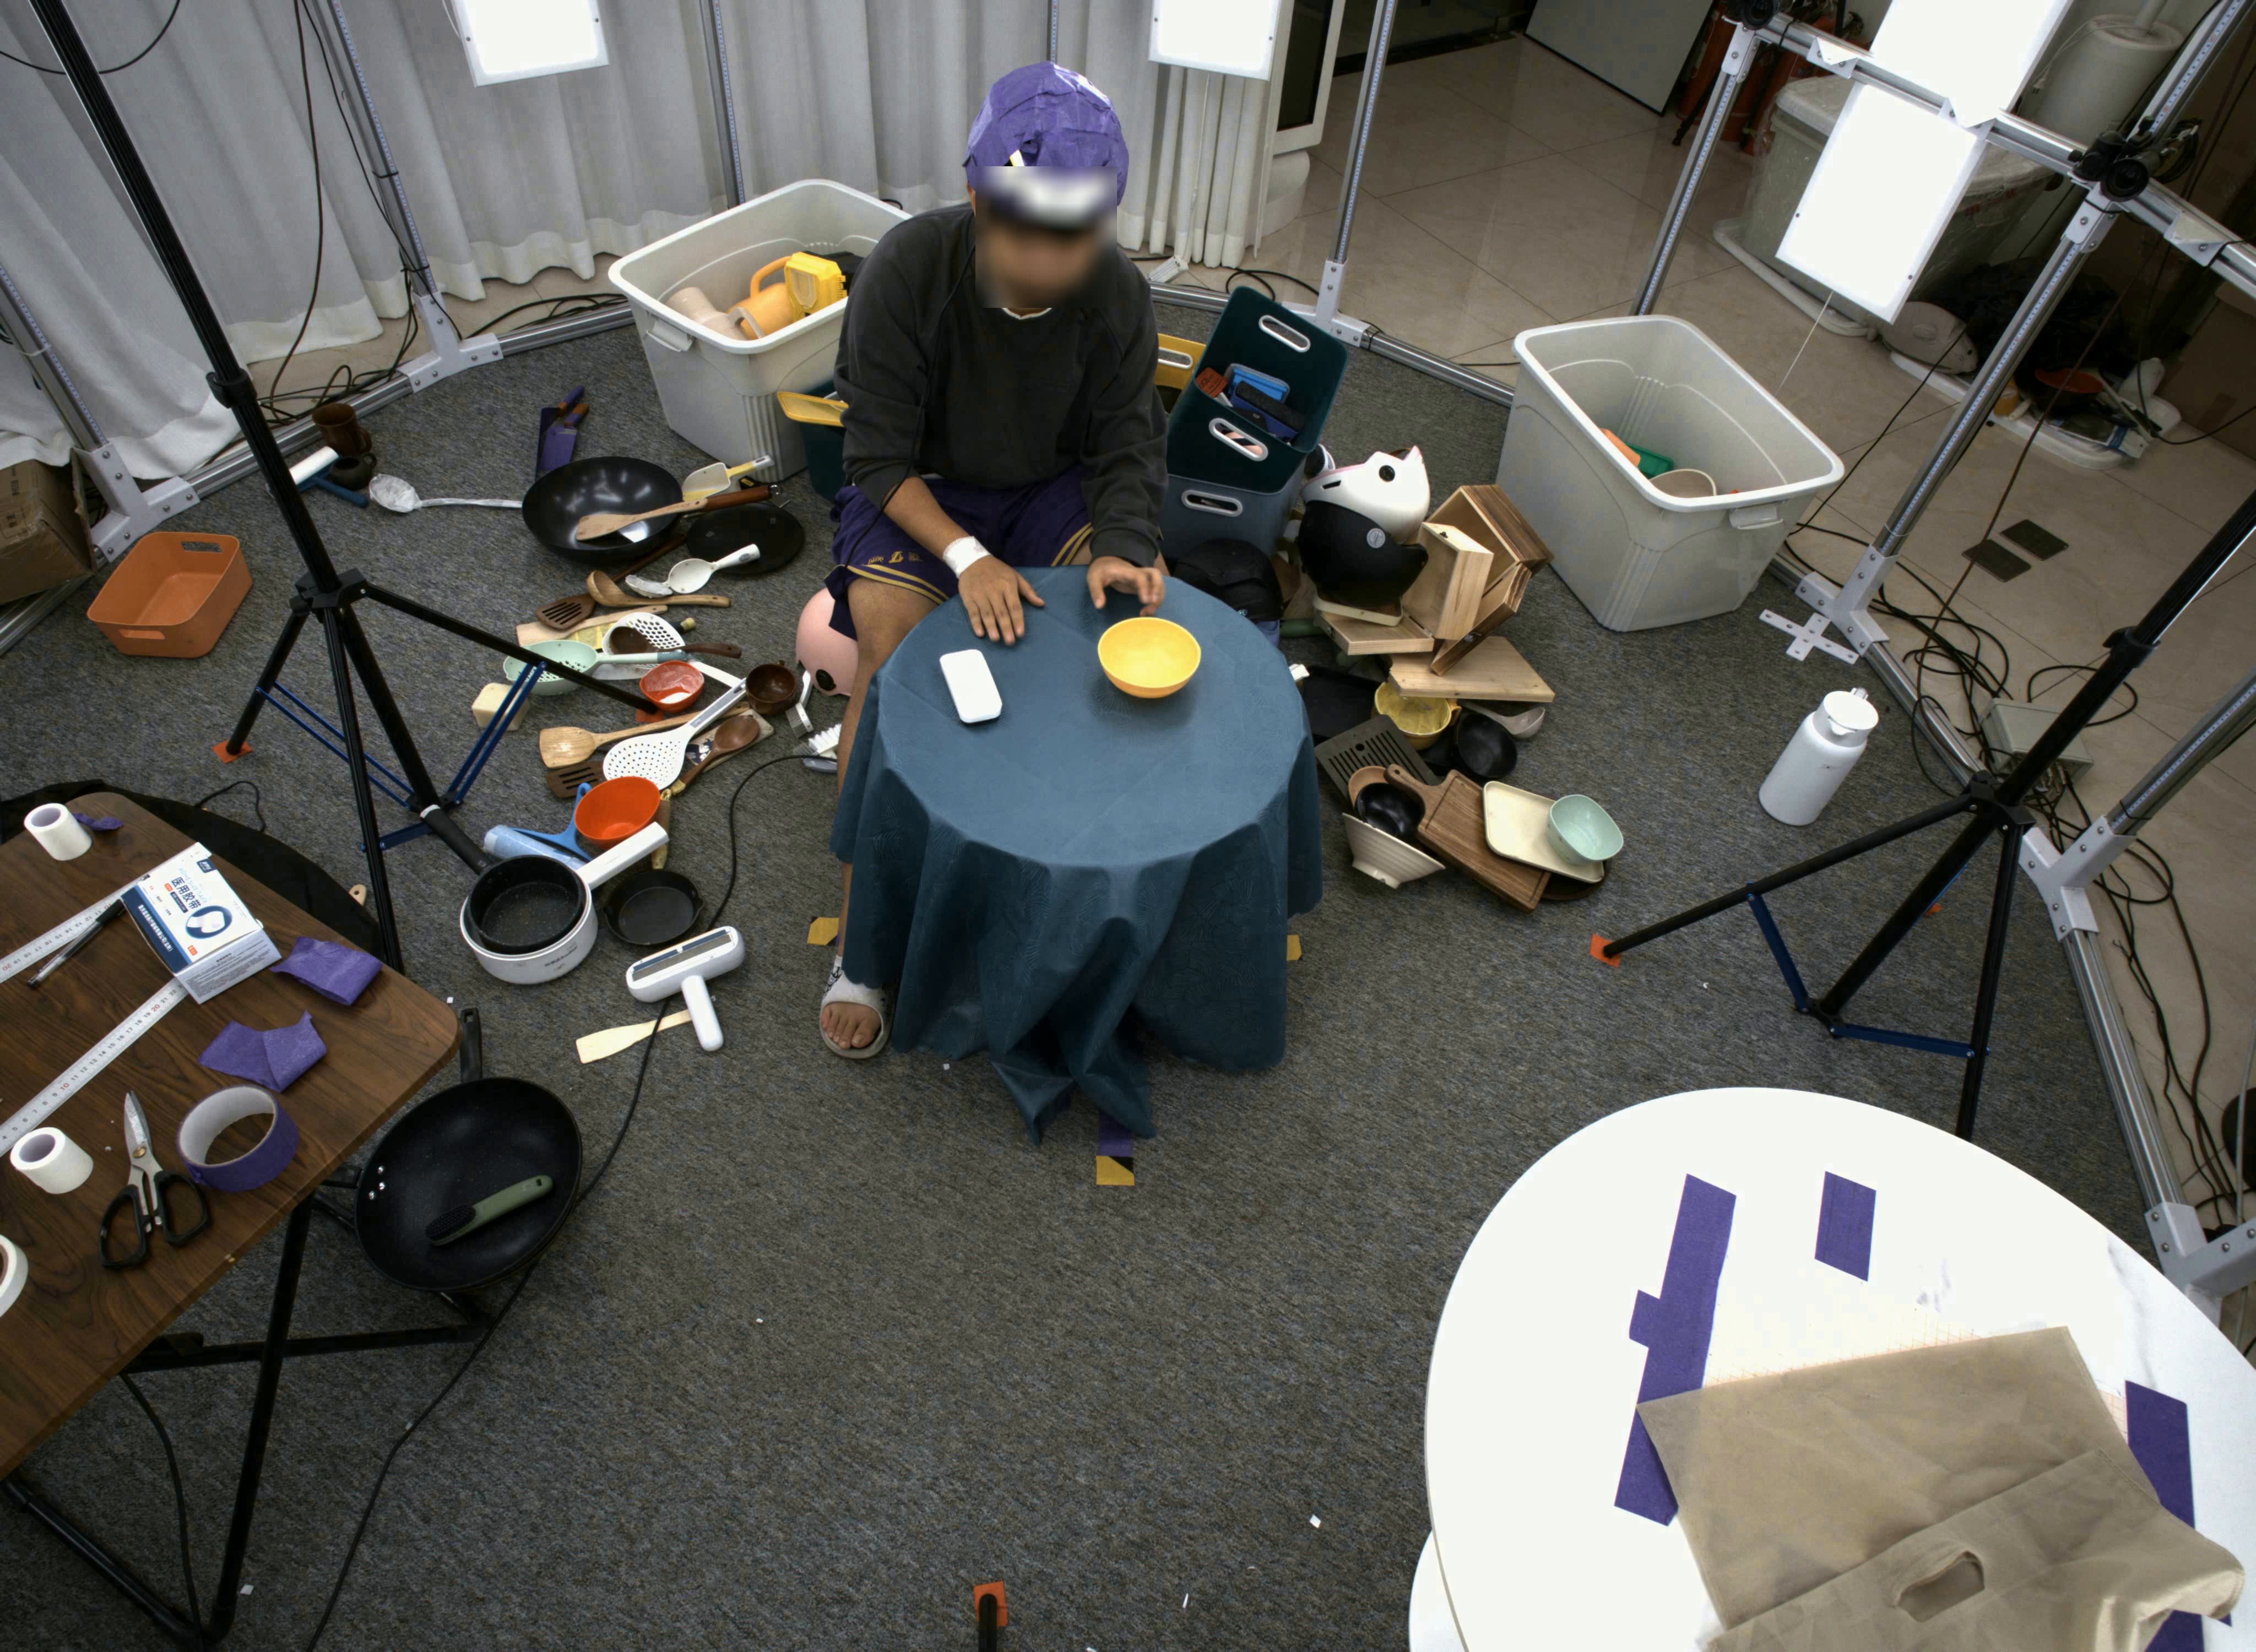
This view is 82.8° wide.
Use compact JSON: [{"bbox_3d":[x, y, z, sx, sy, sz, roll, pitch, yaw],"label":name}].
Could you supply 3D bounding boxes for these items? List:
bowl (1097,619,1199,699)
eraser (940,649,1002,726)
[{"bbox_3d":[0.027,-0.227,1.830,0.145,0.058,0.149,2,47,-3],"label":"bowl"},{"bbox_3d":[-0.219,-0.197,1.803,0.063,0.034,0.134,-12,52,-14],"label":"eraser"}]
